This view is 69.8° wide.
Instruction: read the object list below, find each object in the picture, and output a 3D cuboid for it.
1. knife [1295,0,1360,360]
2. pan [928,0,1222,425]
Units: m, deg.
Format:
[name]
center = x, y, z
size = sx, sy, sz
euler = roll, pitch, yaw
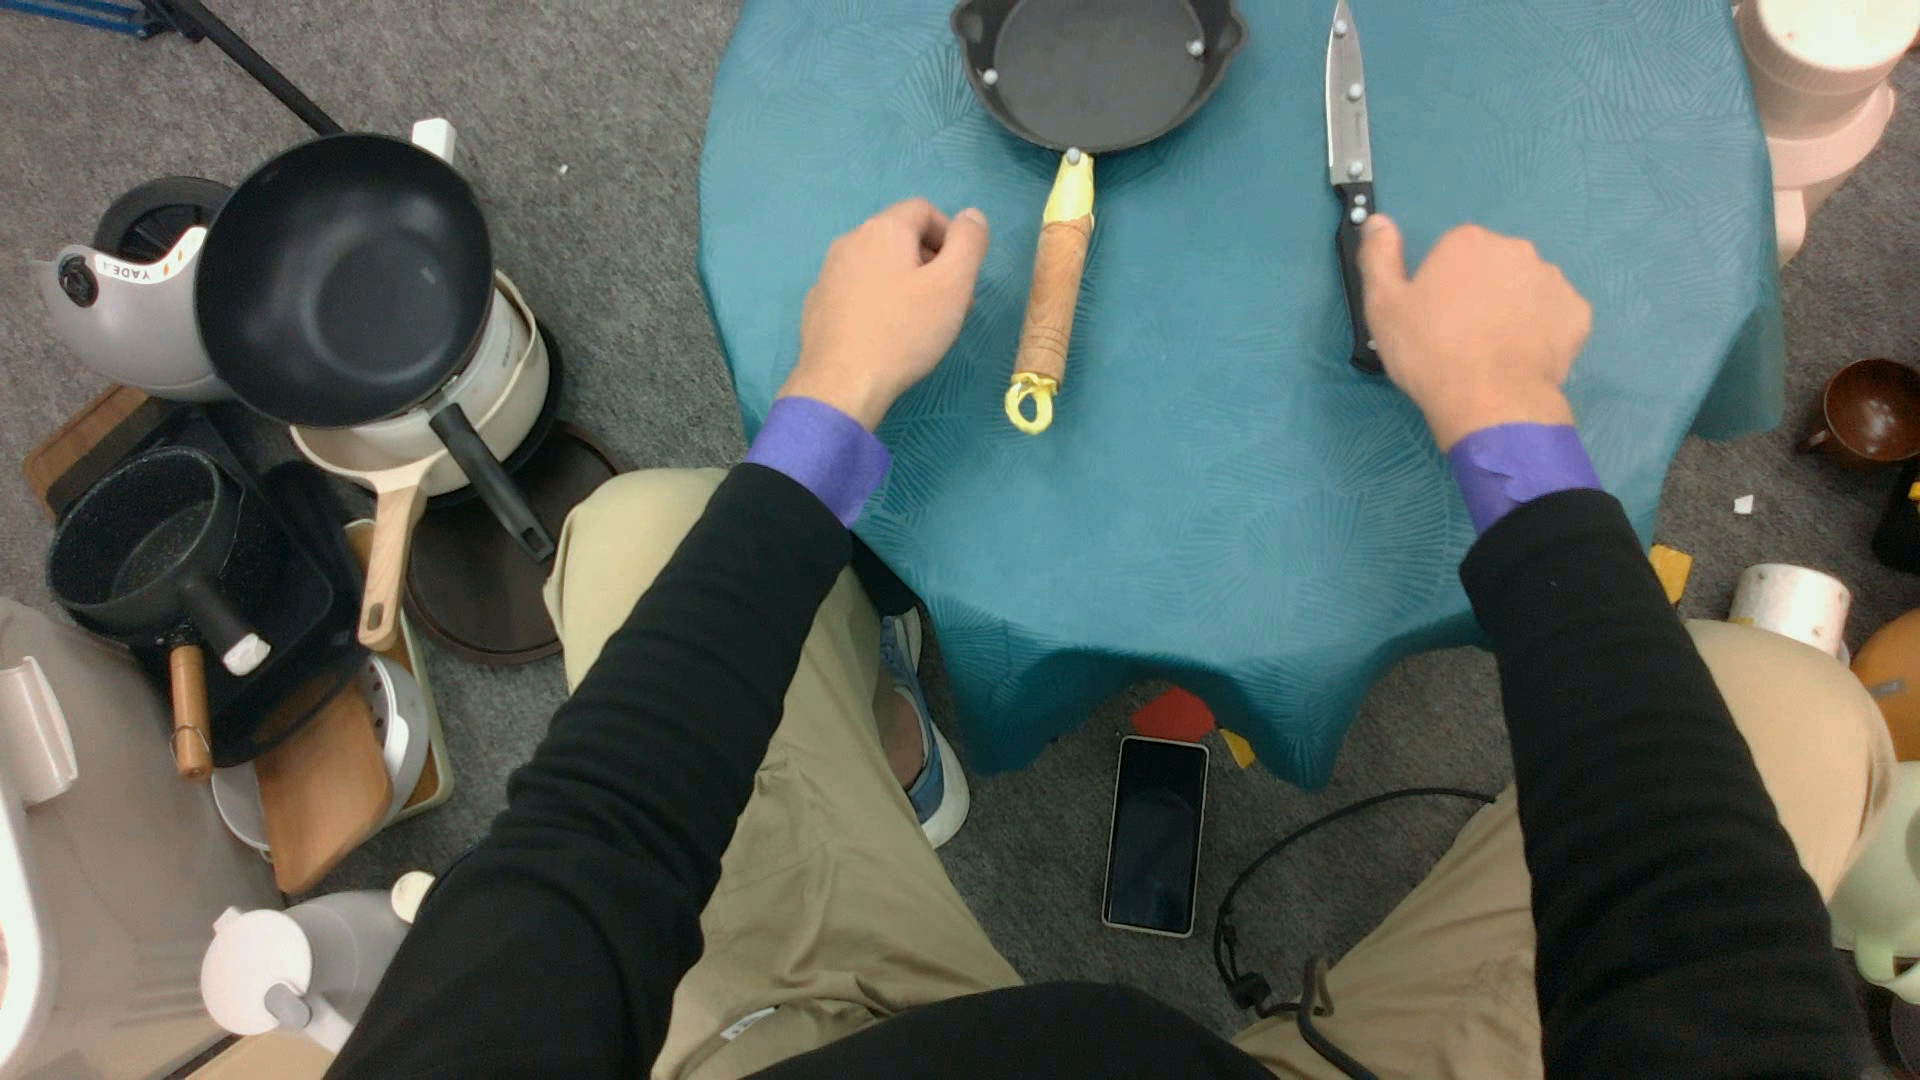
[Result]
[knife]
center = 0.206, -0.211, 0.774
size = 0.024, 0.016, 0.239
euler = -2, 71, 5
[pan]
center = 0.050, -0.214, 0.774
size = 0.169, 0.049, 0.325
euler = 9, 76, 9
